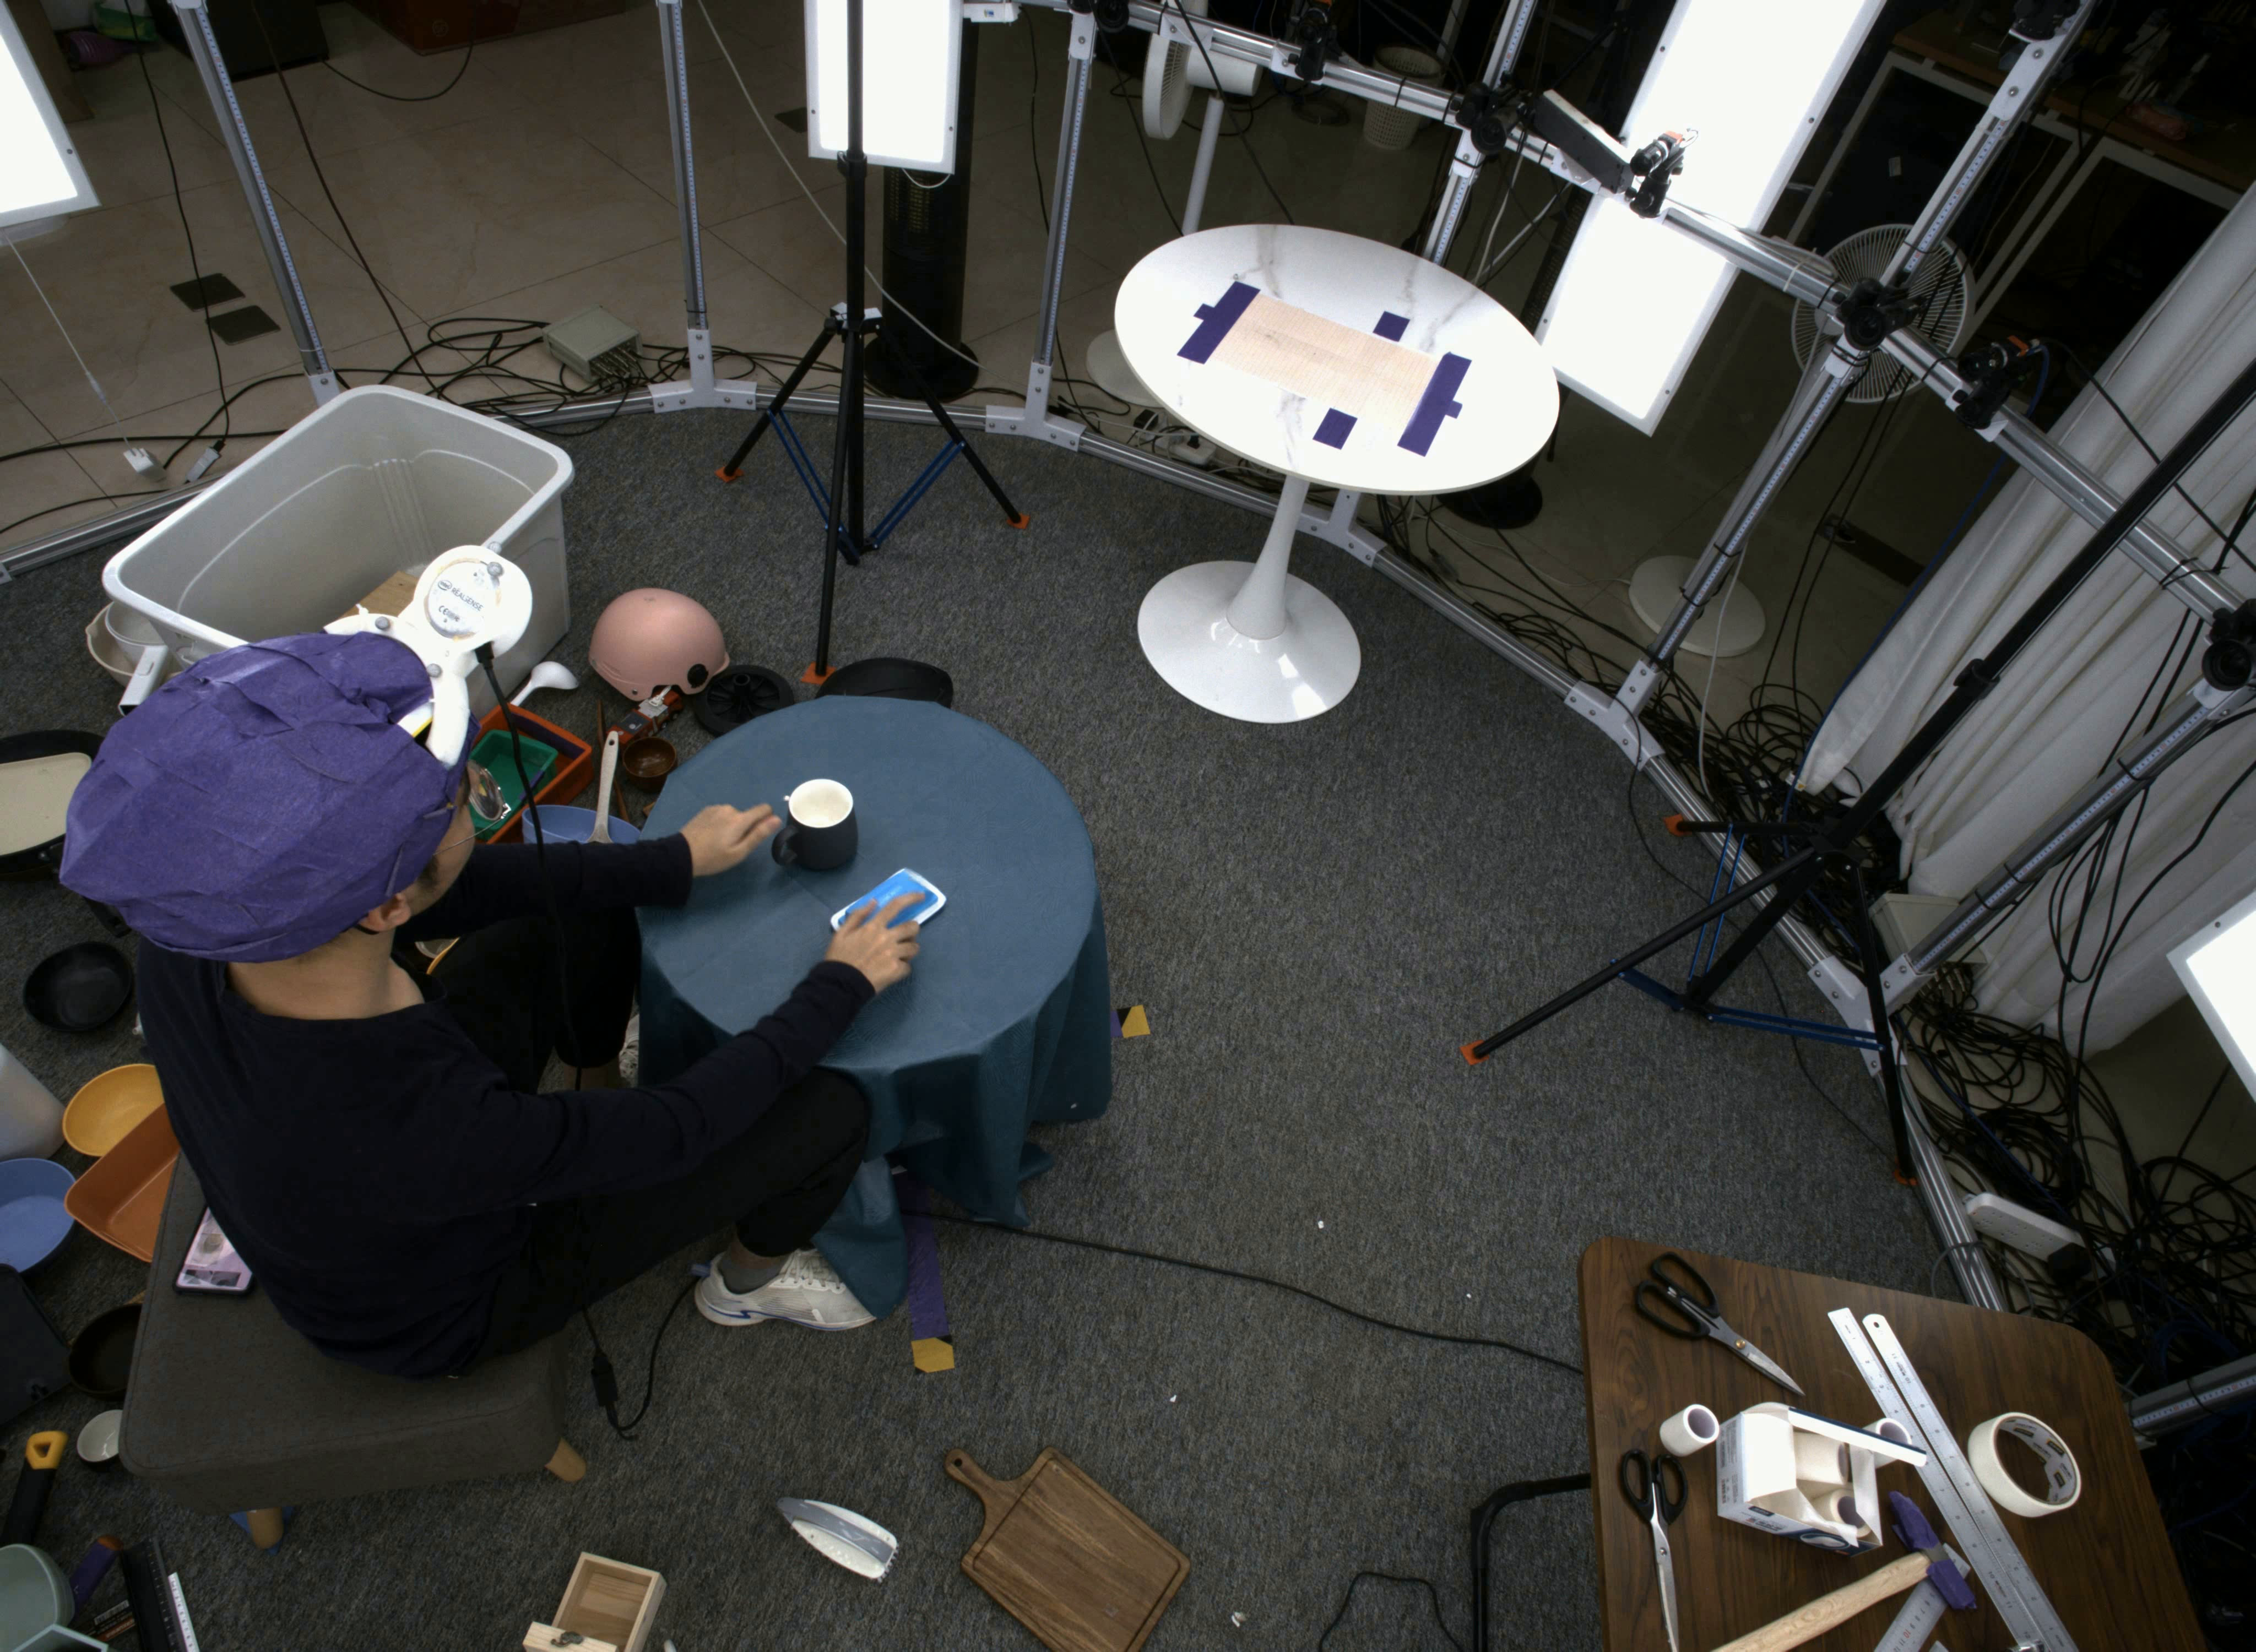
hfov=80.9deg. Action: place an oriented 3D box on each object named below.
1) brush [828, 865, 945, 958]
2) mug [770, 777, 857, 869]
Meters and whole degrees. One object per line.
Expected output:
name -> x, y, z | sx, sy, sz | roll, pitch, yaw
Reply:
brush -> -0.305, 0.099, 1.642 | 0.082, 0.057, 0.144 | 40, 52, 21
mug -> -0.407, 0.002, 1.666 | 0.091, 0.092, 0.123 | 40, 53, 20
